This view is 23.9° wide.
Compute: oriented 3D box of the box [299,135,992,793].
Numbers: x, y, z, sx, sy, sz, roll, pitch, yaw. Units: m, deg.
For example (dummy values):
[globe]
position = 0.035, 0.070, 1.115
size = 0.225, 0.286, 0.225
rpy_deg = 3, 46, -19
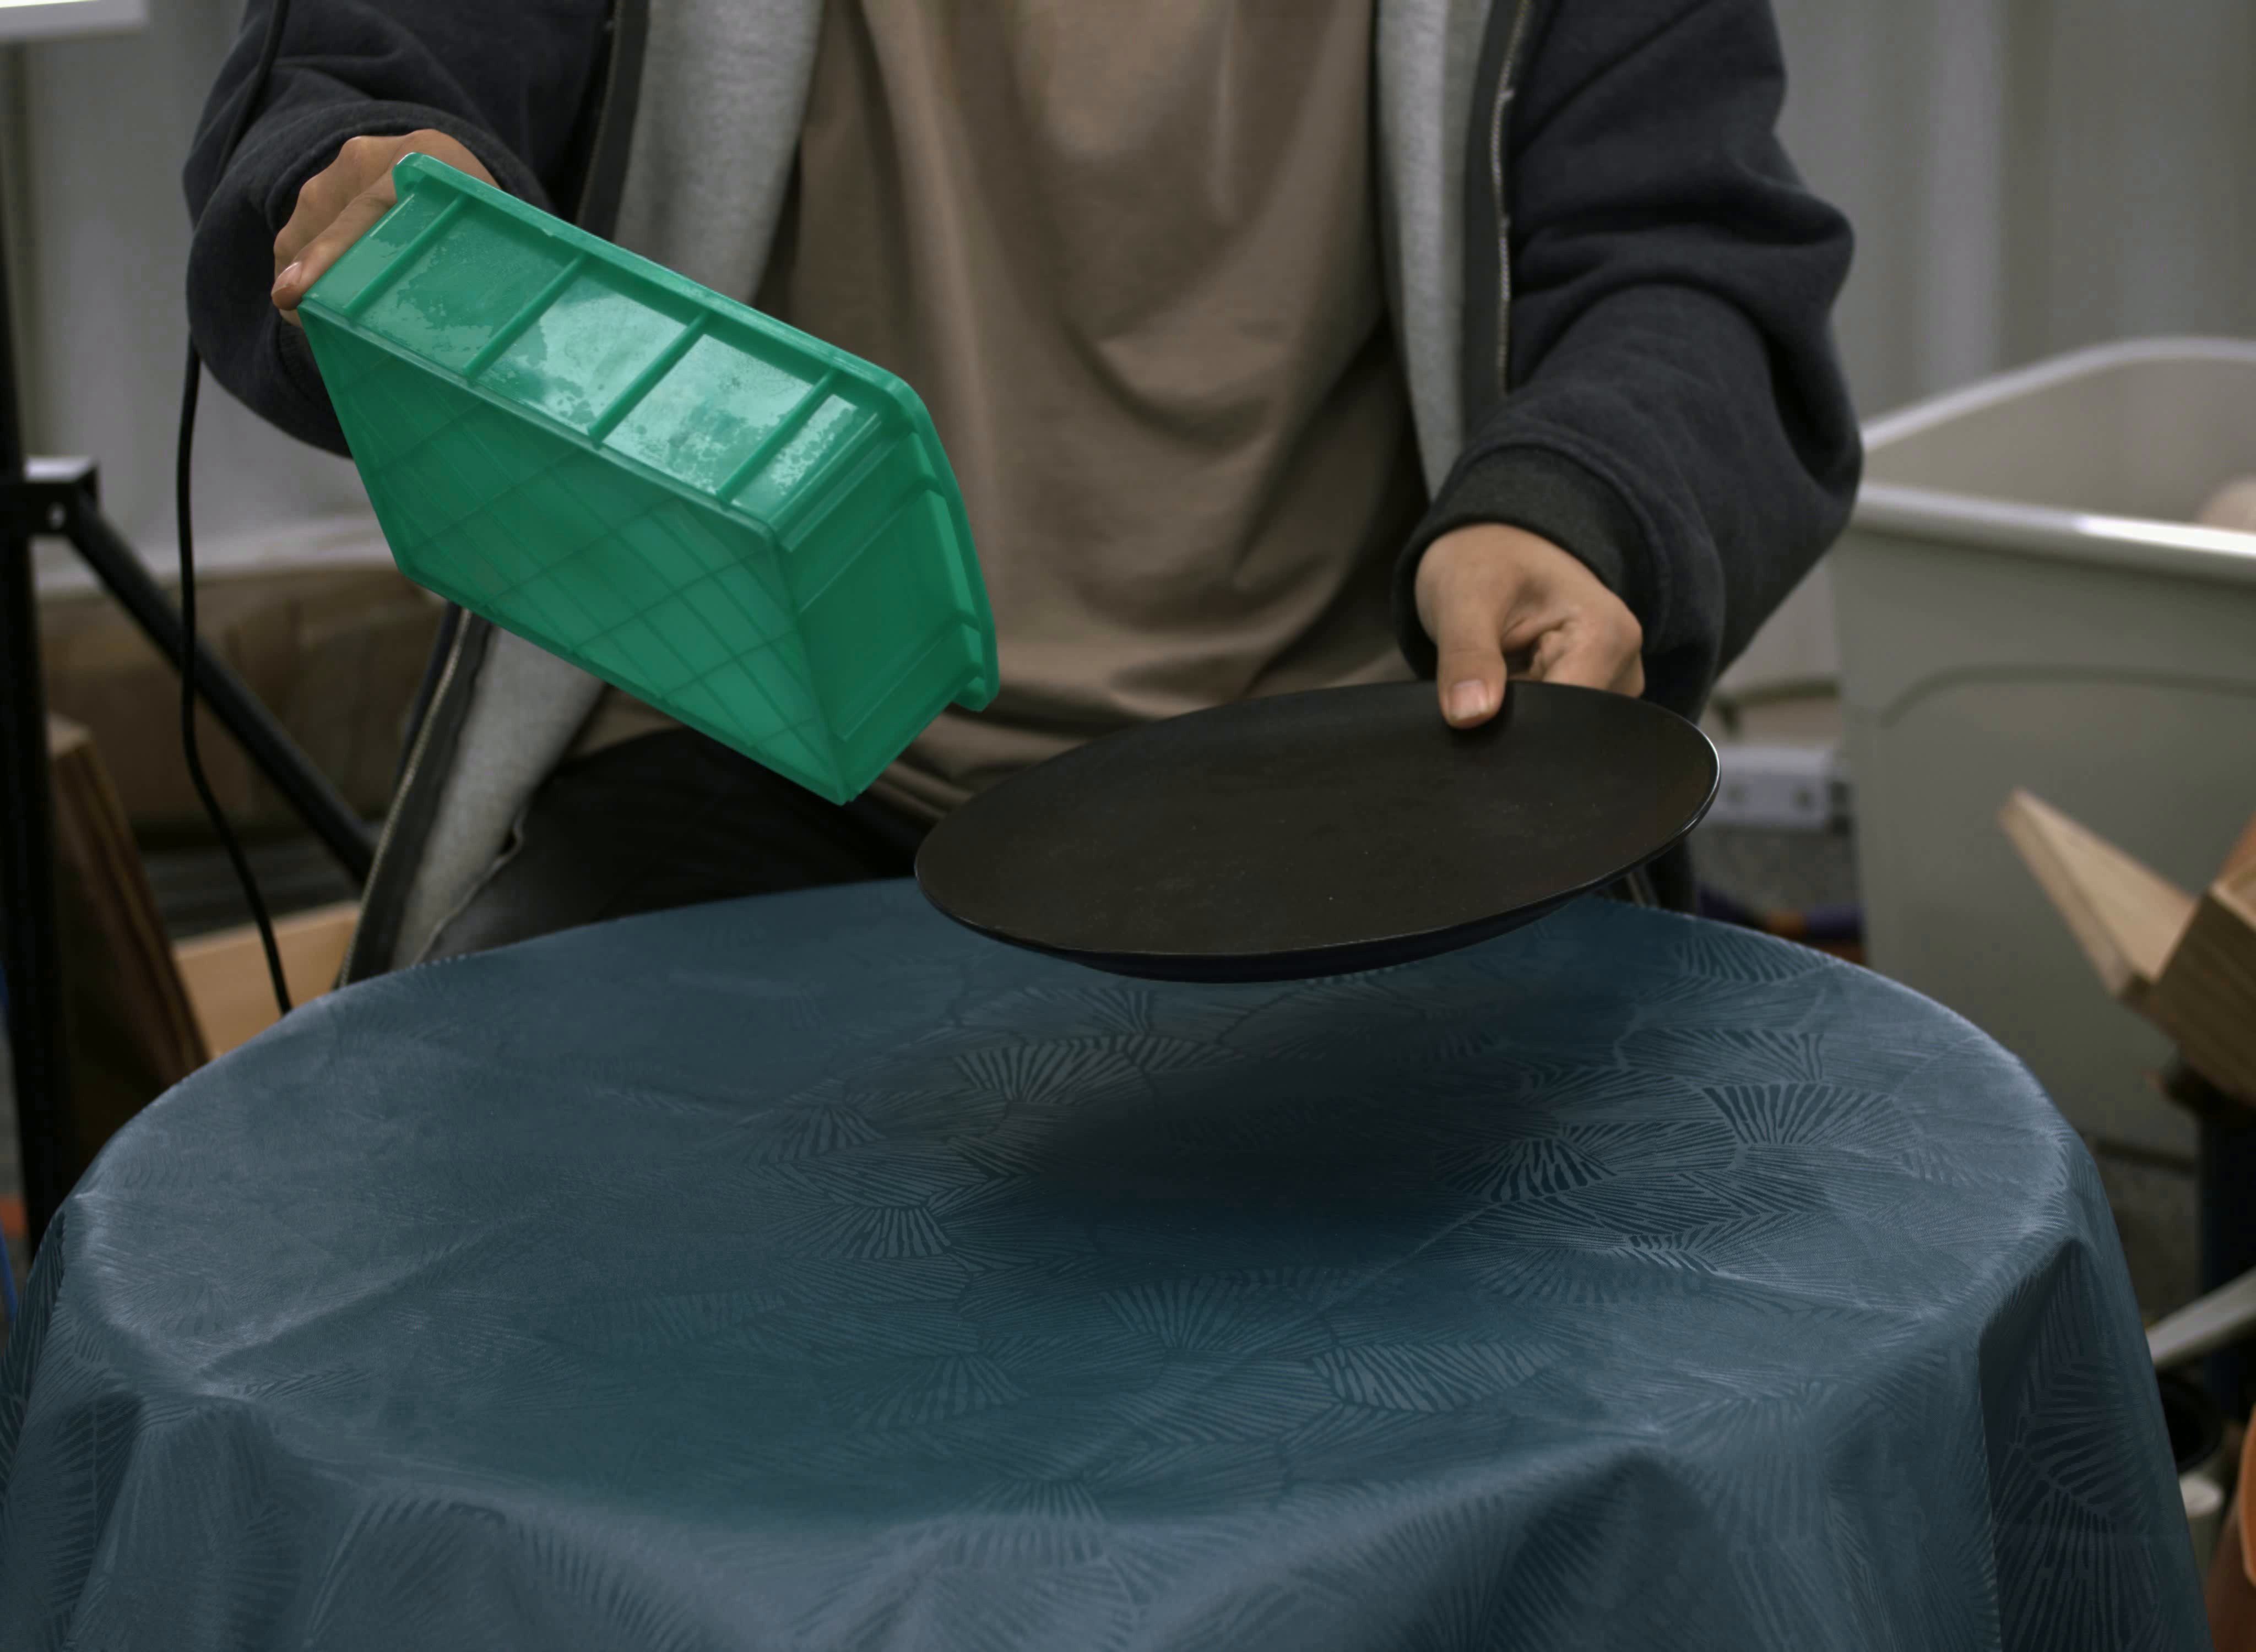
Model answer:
[box]
position = -0.143, -0.101, 1.543
size = 0.214, 0.137, 0.065
rpy_deg = 27, 58, 29

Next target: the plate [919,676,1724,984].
[plate]
position = 0.058, 0.004, 1.595
size = 0.243, 0.023, 0.246
rpy_deg = -9, 18, 1
